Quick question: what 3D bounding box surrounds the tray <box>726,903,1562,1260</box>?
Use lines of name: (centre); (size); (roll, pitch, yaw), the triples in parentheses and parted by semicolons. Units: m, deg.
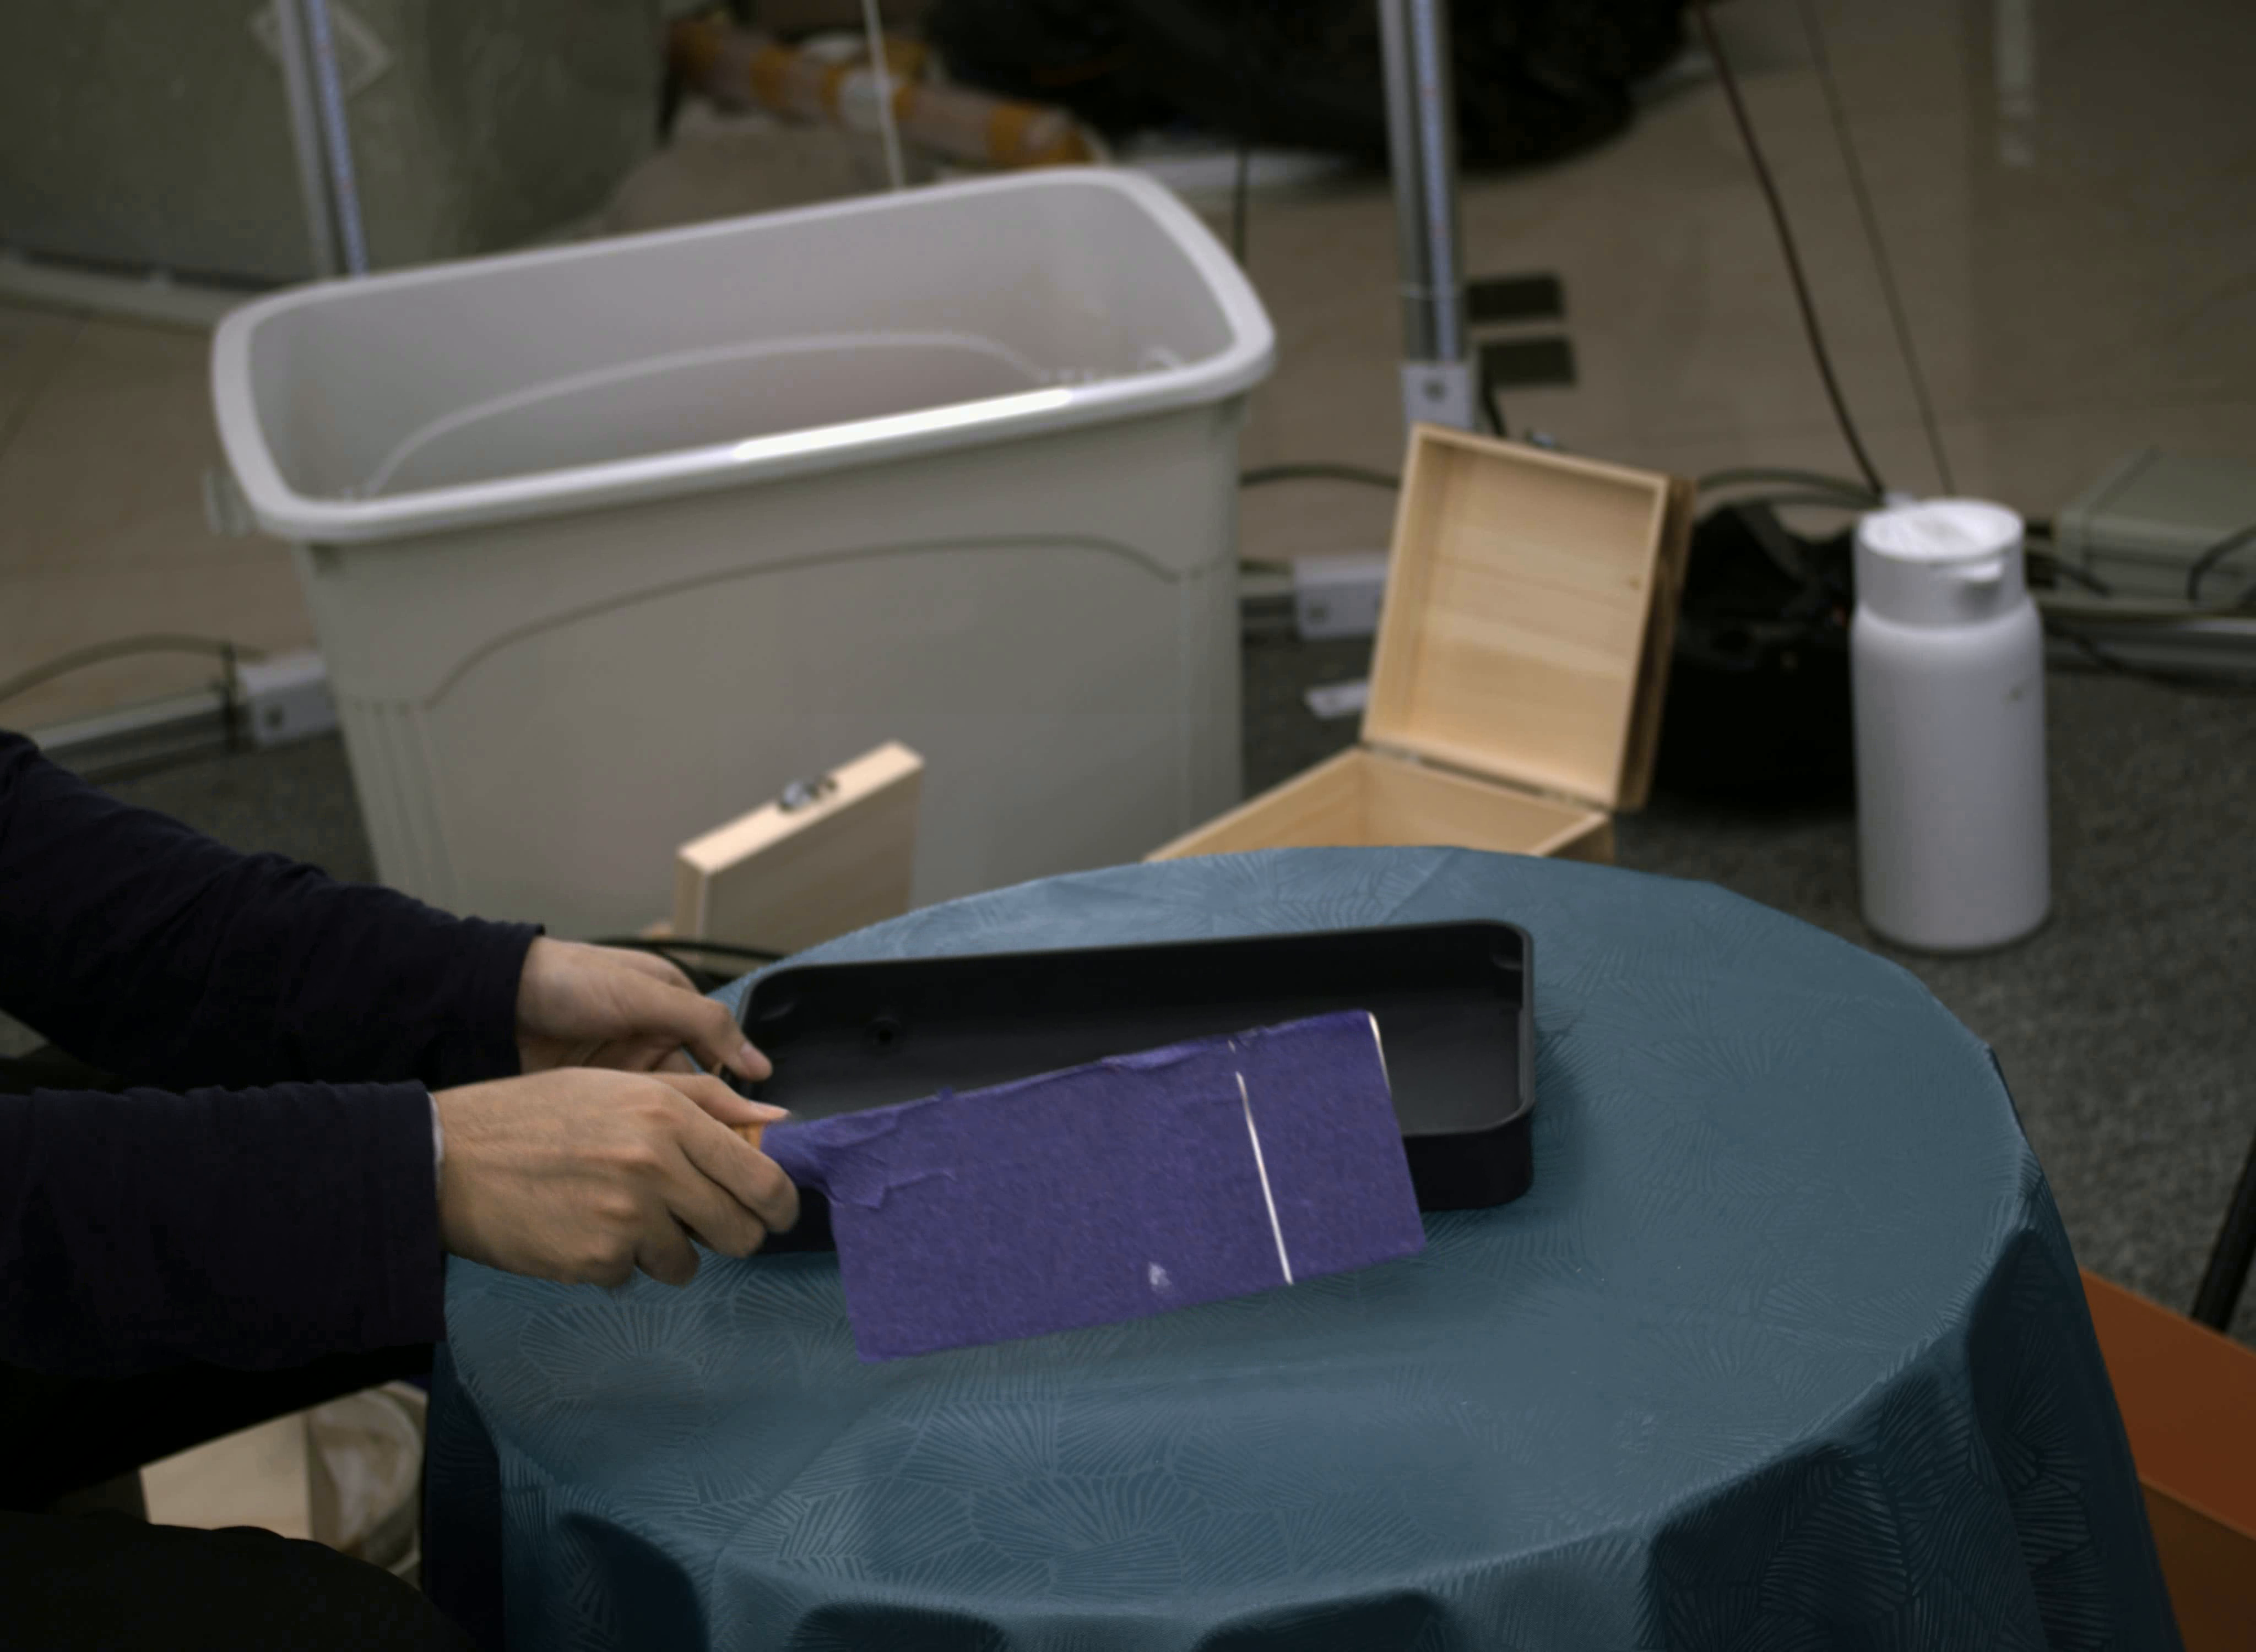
tray: (0.009, 0.097, 2.199); (0.317, 0.037, 0.181); (-6, 25, 5)

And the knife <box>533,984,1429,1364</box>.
knife: (-0.053, 0.139, 2.024); (0.315, 0.104, 0.032); (-12, -3, 5)
